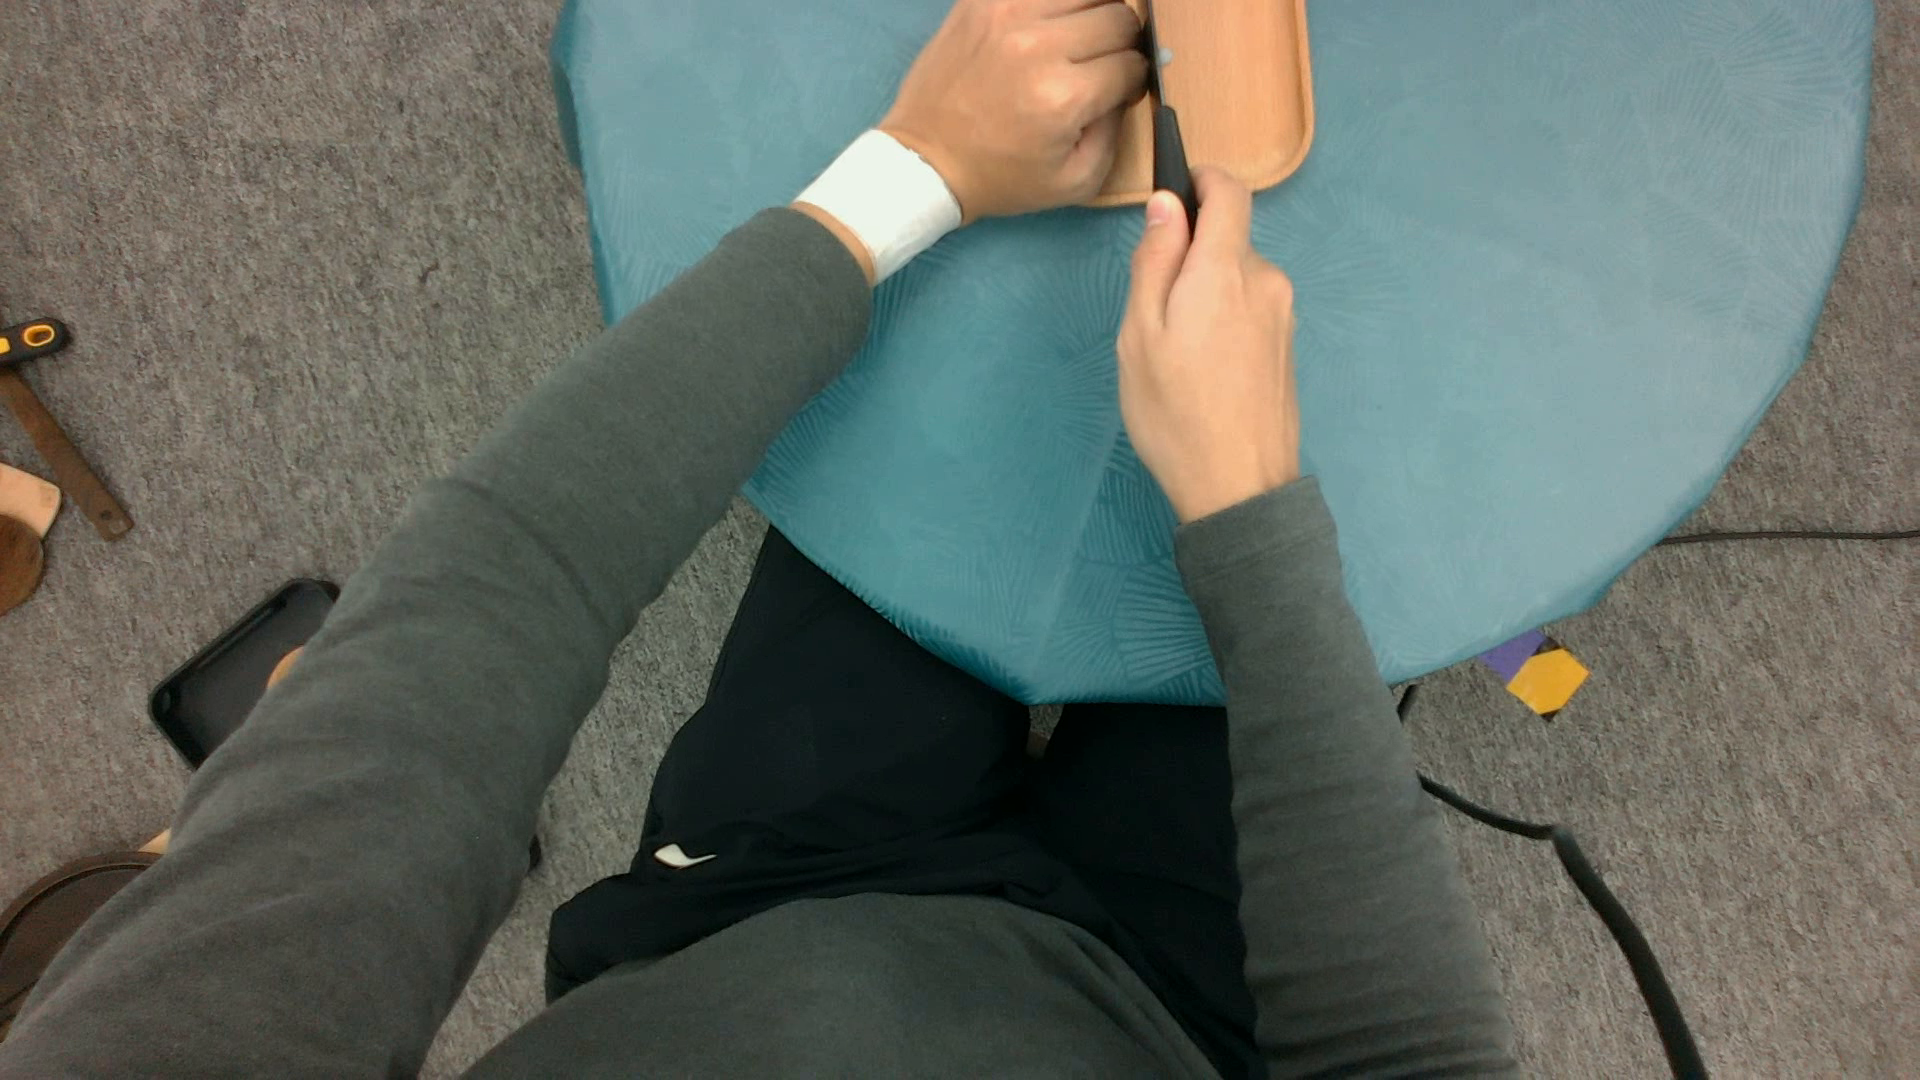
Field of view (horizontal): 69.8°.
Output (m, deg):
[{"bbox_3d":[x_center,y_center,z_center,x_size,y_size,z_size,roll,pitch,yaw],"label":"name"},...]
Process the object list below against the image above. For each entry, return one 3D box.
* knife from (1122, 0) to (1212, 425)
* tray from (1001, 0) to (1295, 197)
[{"bbox_3d":[0.075,-0.199,0.580,0.021,0.081,0.302,-8,87,7],"label":"knife"},{"bbox_3d":[0.080,-0.284,0.629,0.130,0.023,0.250,-4,91,2],"label":"tray"}]
